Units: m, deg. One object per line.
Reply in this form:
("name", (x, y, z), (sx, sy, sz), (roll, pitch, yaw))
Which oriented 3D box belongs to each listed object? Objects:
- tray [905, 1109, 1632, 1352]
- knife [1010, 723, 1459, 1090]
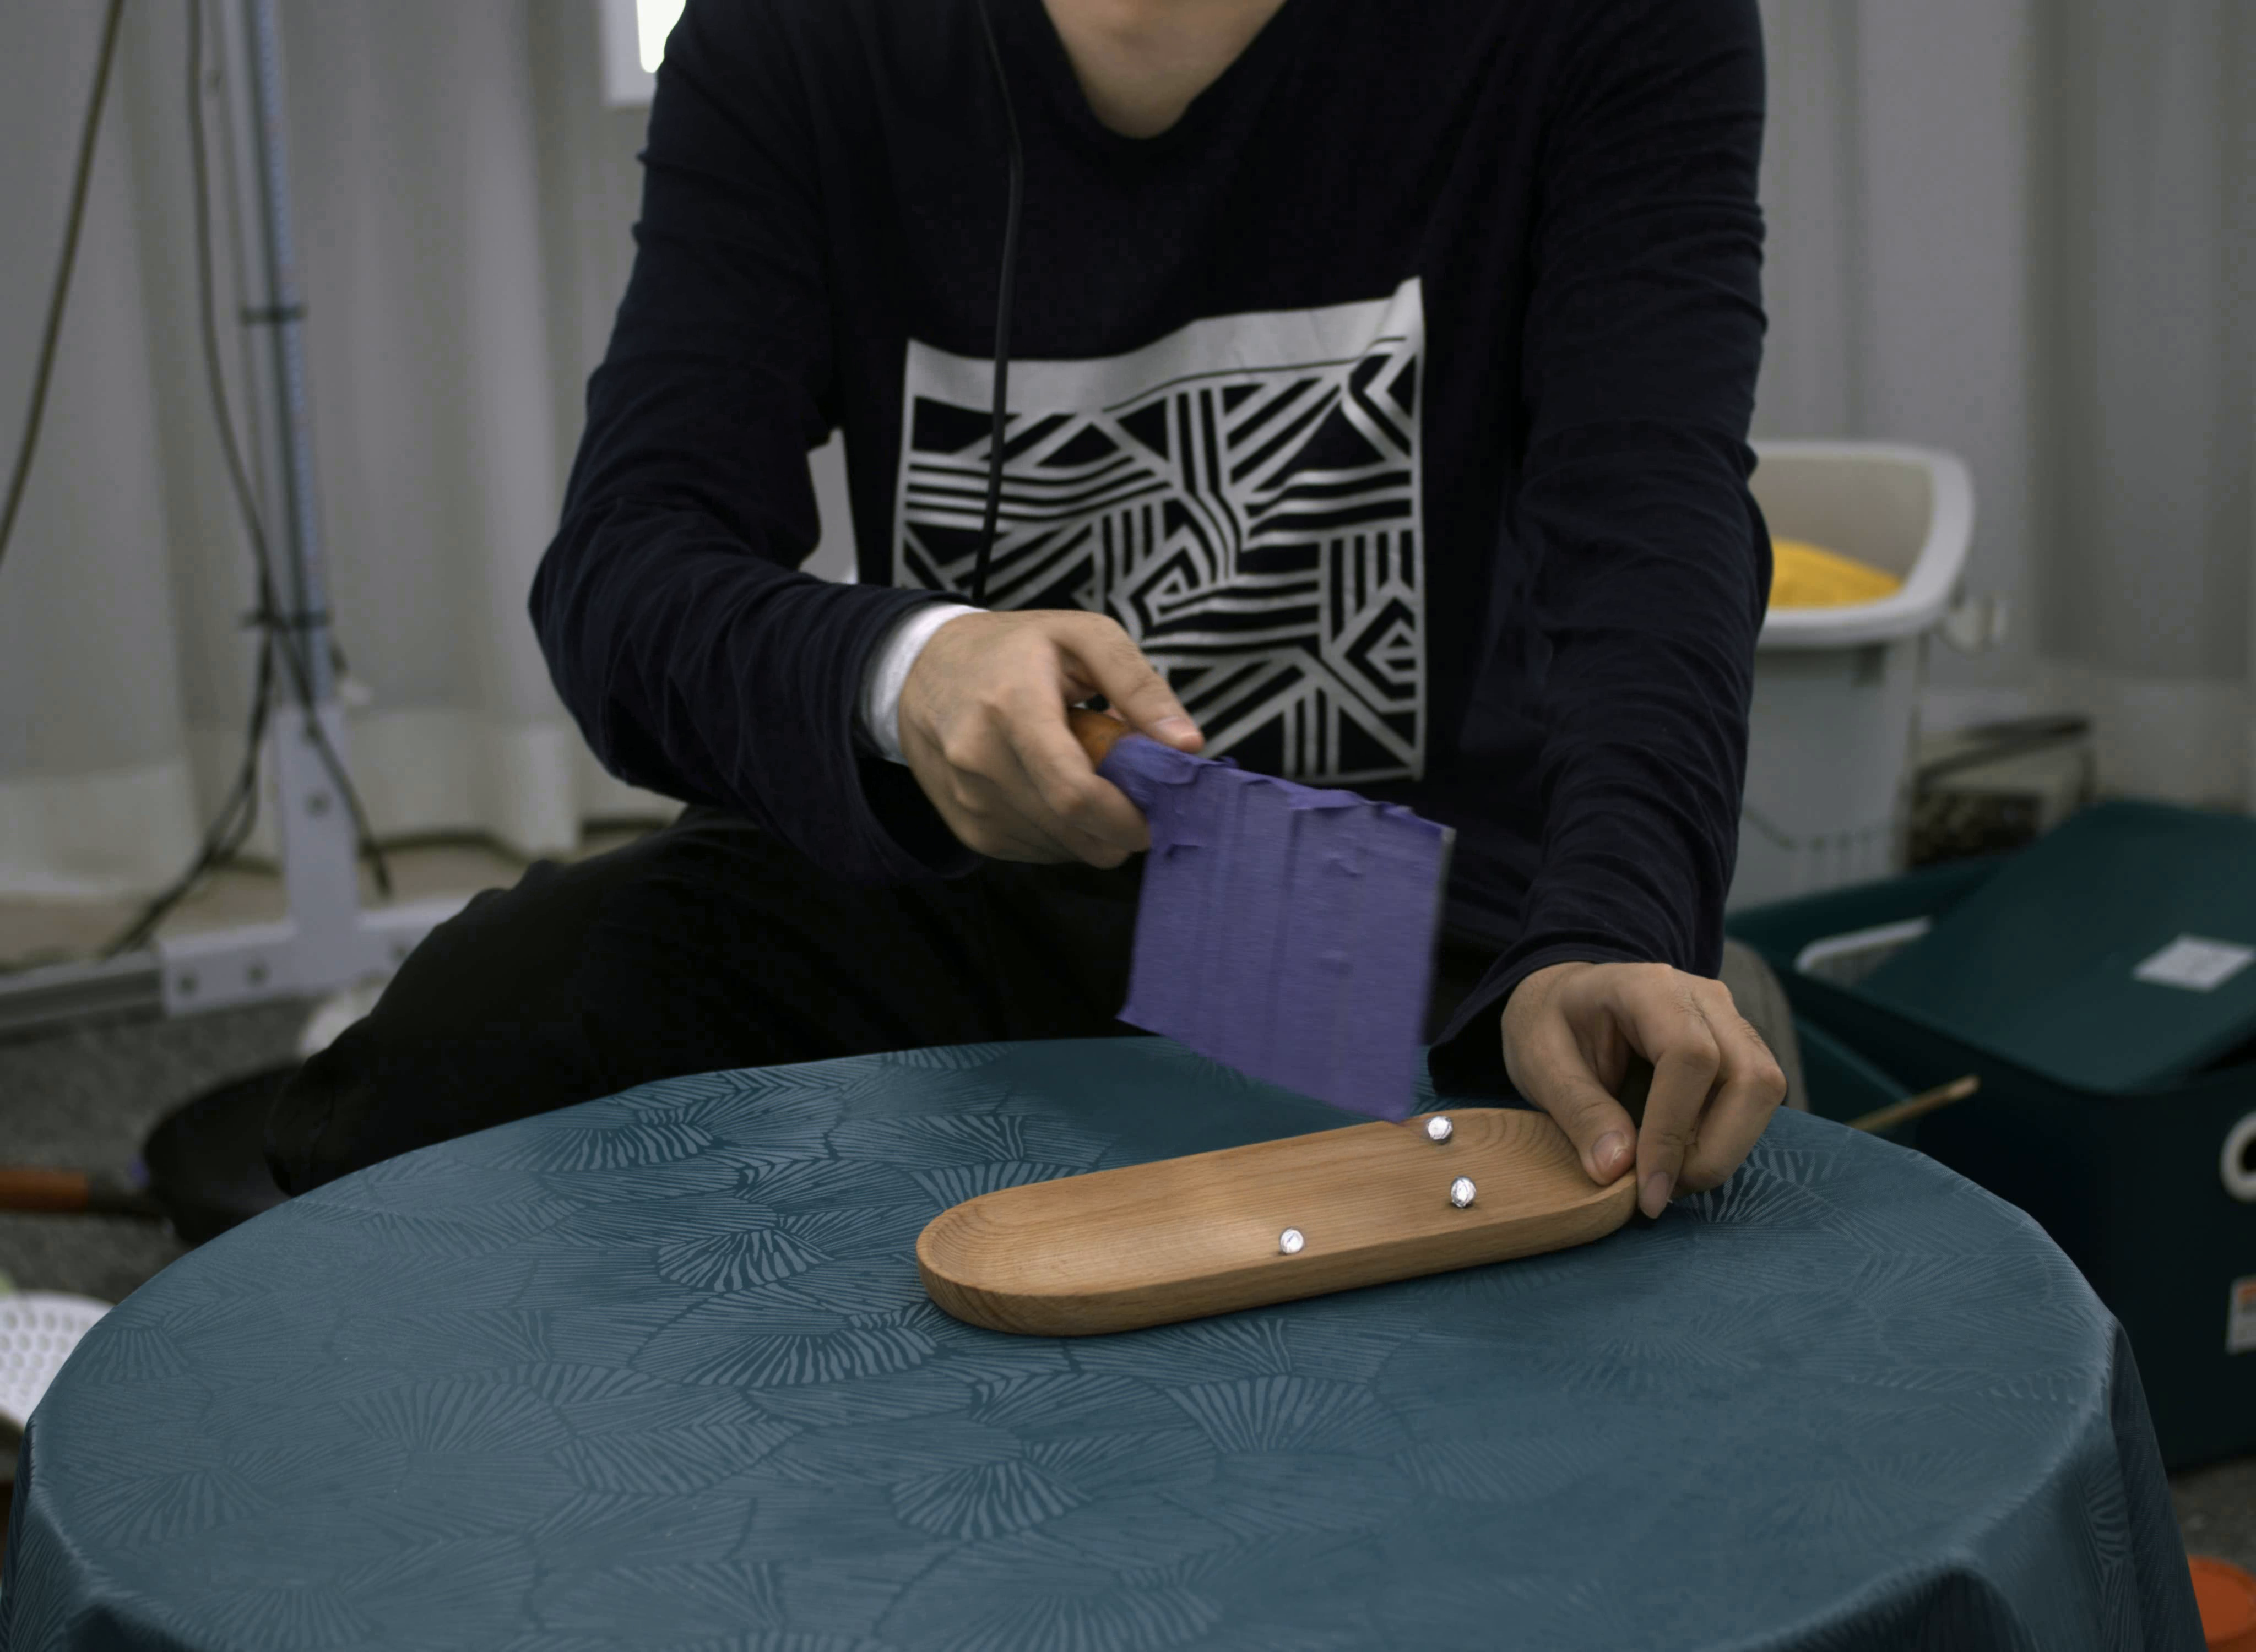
("tray", (0.044, 0.122, 1.654), (0.230, 0.020, 0.102), (-12, 16, -20))
("knife", (0.026, 0.023, 1.702), (0.032, 0.104, 0.317), (8, 2, -22))
